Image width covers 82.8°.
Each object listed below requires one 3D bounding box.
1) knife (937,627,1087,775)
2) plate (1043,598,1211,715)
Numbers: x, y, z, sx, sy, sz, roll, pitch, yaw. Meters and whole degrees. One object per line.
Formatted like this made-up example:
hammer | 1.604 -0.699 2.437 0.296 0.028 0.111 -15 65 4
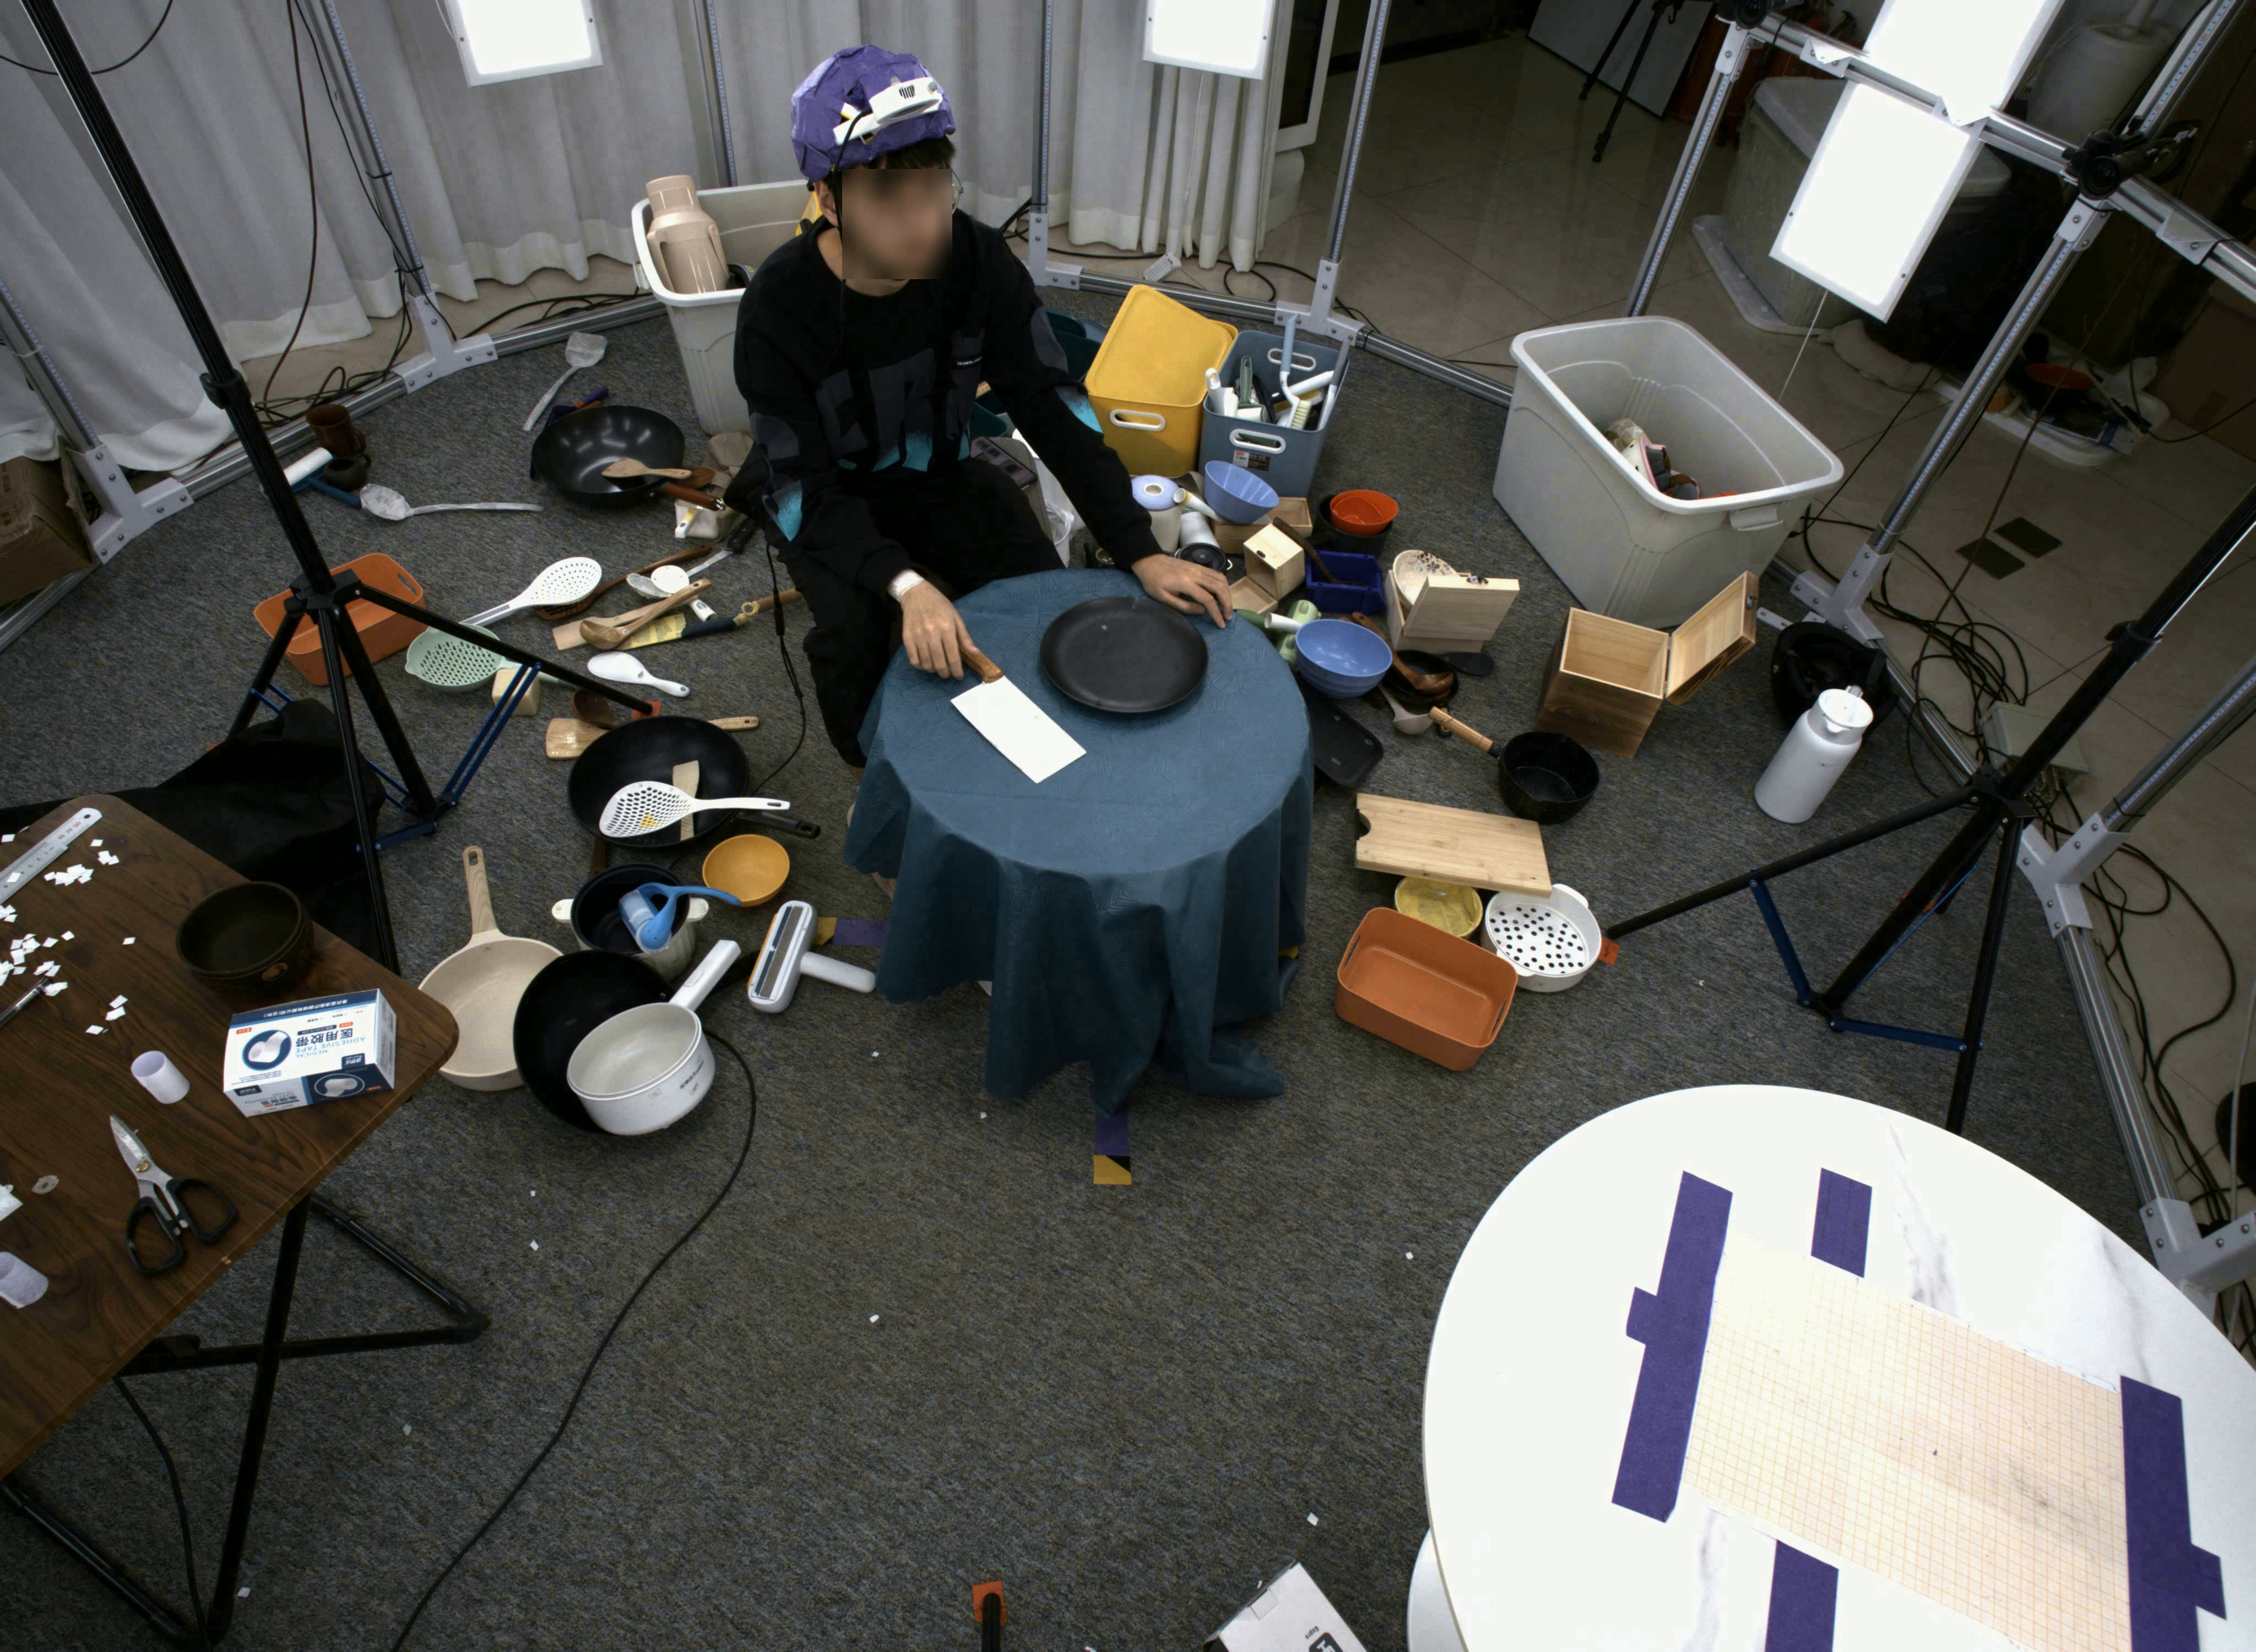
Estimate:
knife | -0.185 -0.174 1.798 0.093 0.020 0.311 -33 61 -26
plate | -0.002 -0.243 1.864 0.244 0.023 0.250 2 49 -2
